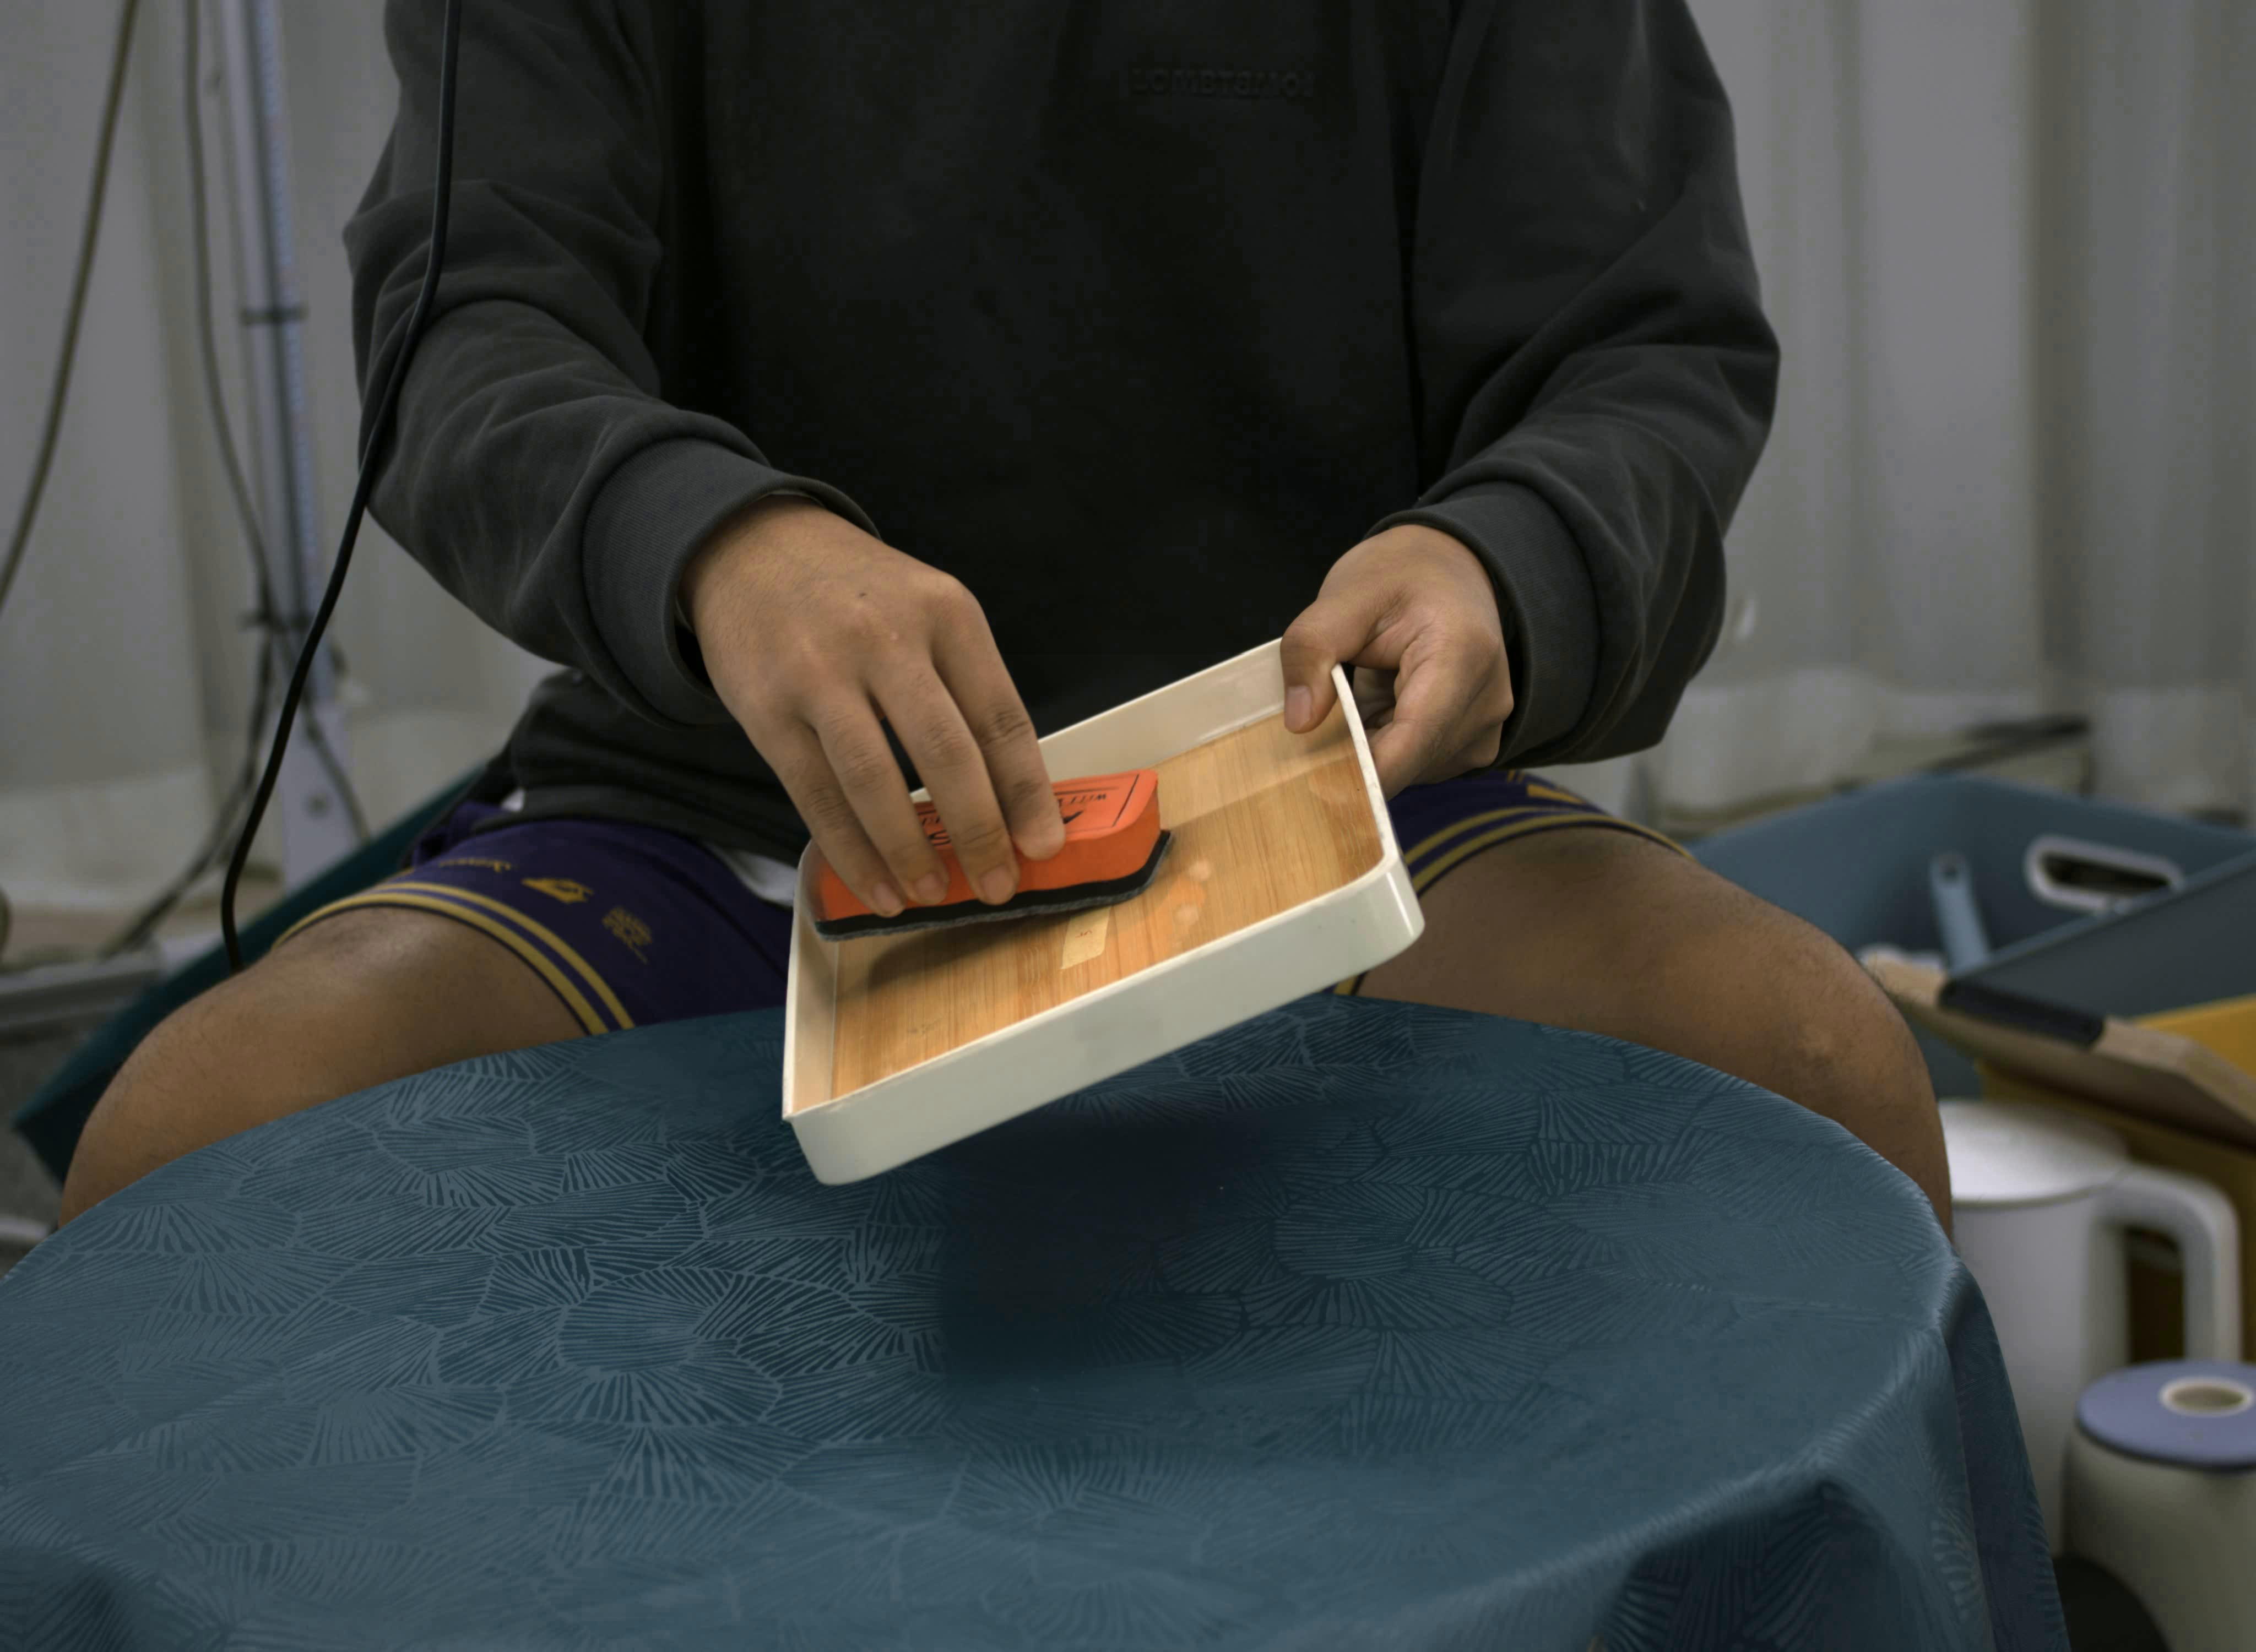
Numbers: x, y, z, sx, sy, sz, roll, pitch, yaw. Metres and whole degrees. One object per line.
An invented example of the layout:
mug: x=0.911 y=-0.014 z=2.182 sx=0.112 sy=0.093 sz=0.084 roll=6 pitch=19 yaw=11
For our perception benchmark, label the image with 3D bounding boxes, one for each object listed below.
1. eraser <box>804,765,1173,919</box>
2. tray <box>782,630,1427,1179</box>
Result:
eraser: x=-0.043 y=0.005 z=1.698 sx=0.108 sy=0.023 sz=0.059 roll=-10 pitch=9 yaw=14
tray: x=-0.011 y=0.019 z=1.670 sx=0.191 sy=0.027 sz=0.302 roll=-23 pitch=15 yaw=4
